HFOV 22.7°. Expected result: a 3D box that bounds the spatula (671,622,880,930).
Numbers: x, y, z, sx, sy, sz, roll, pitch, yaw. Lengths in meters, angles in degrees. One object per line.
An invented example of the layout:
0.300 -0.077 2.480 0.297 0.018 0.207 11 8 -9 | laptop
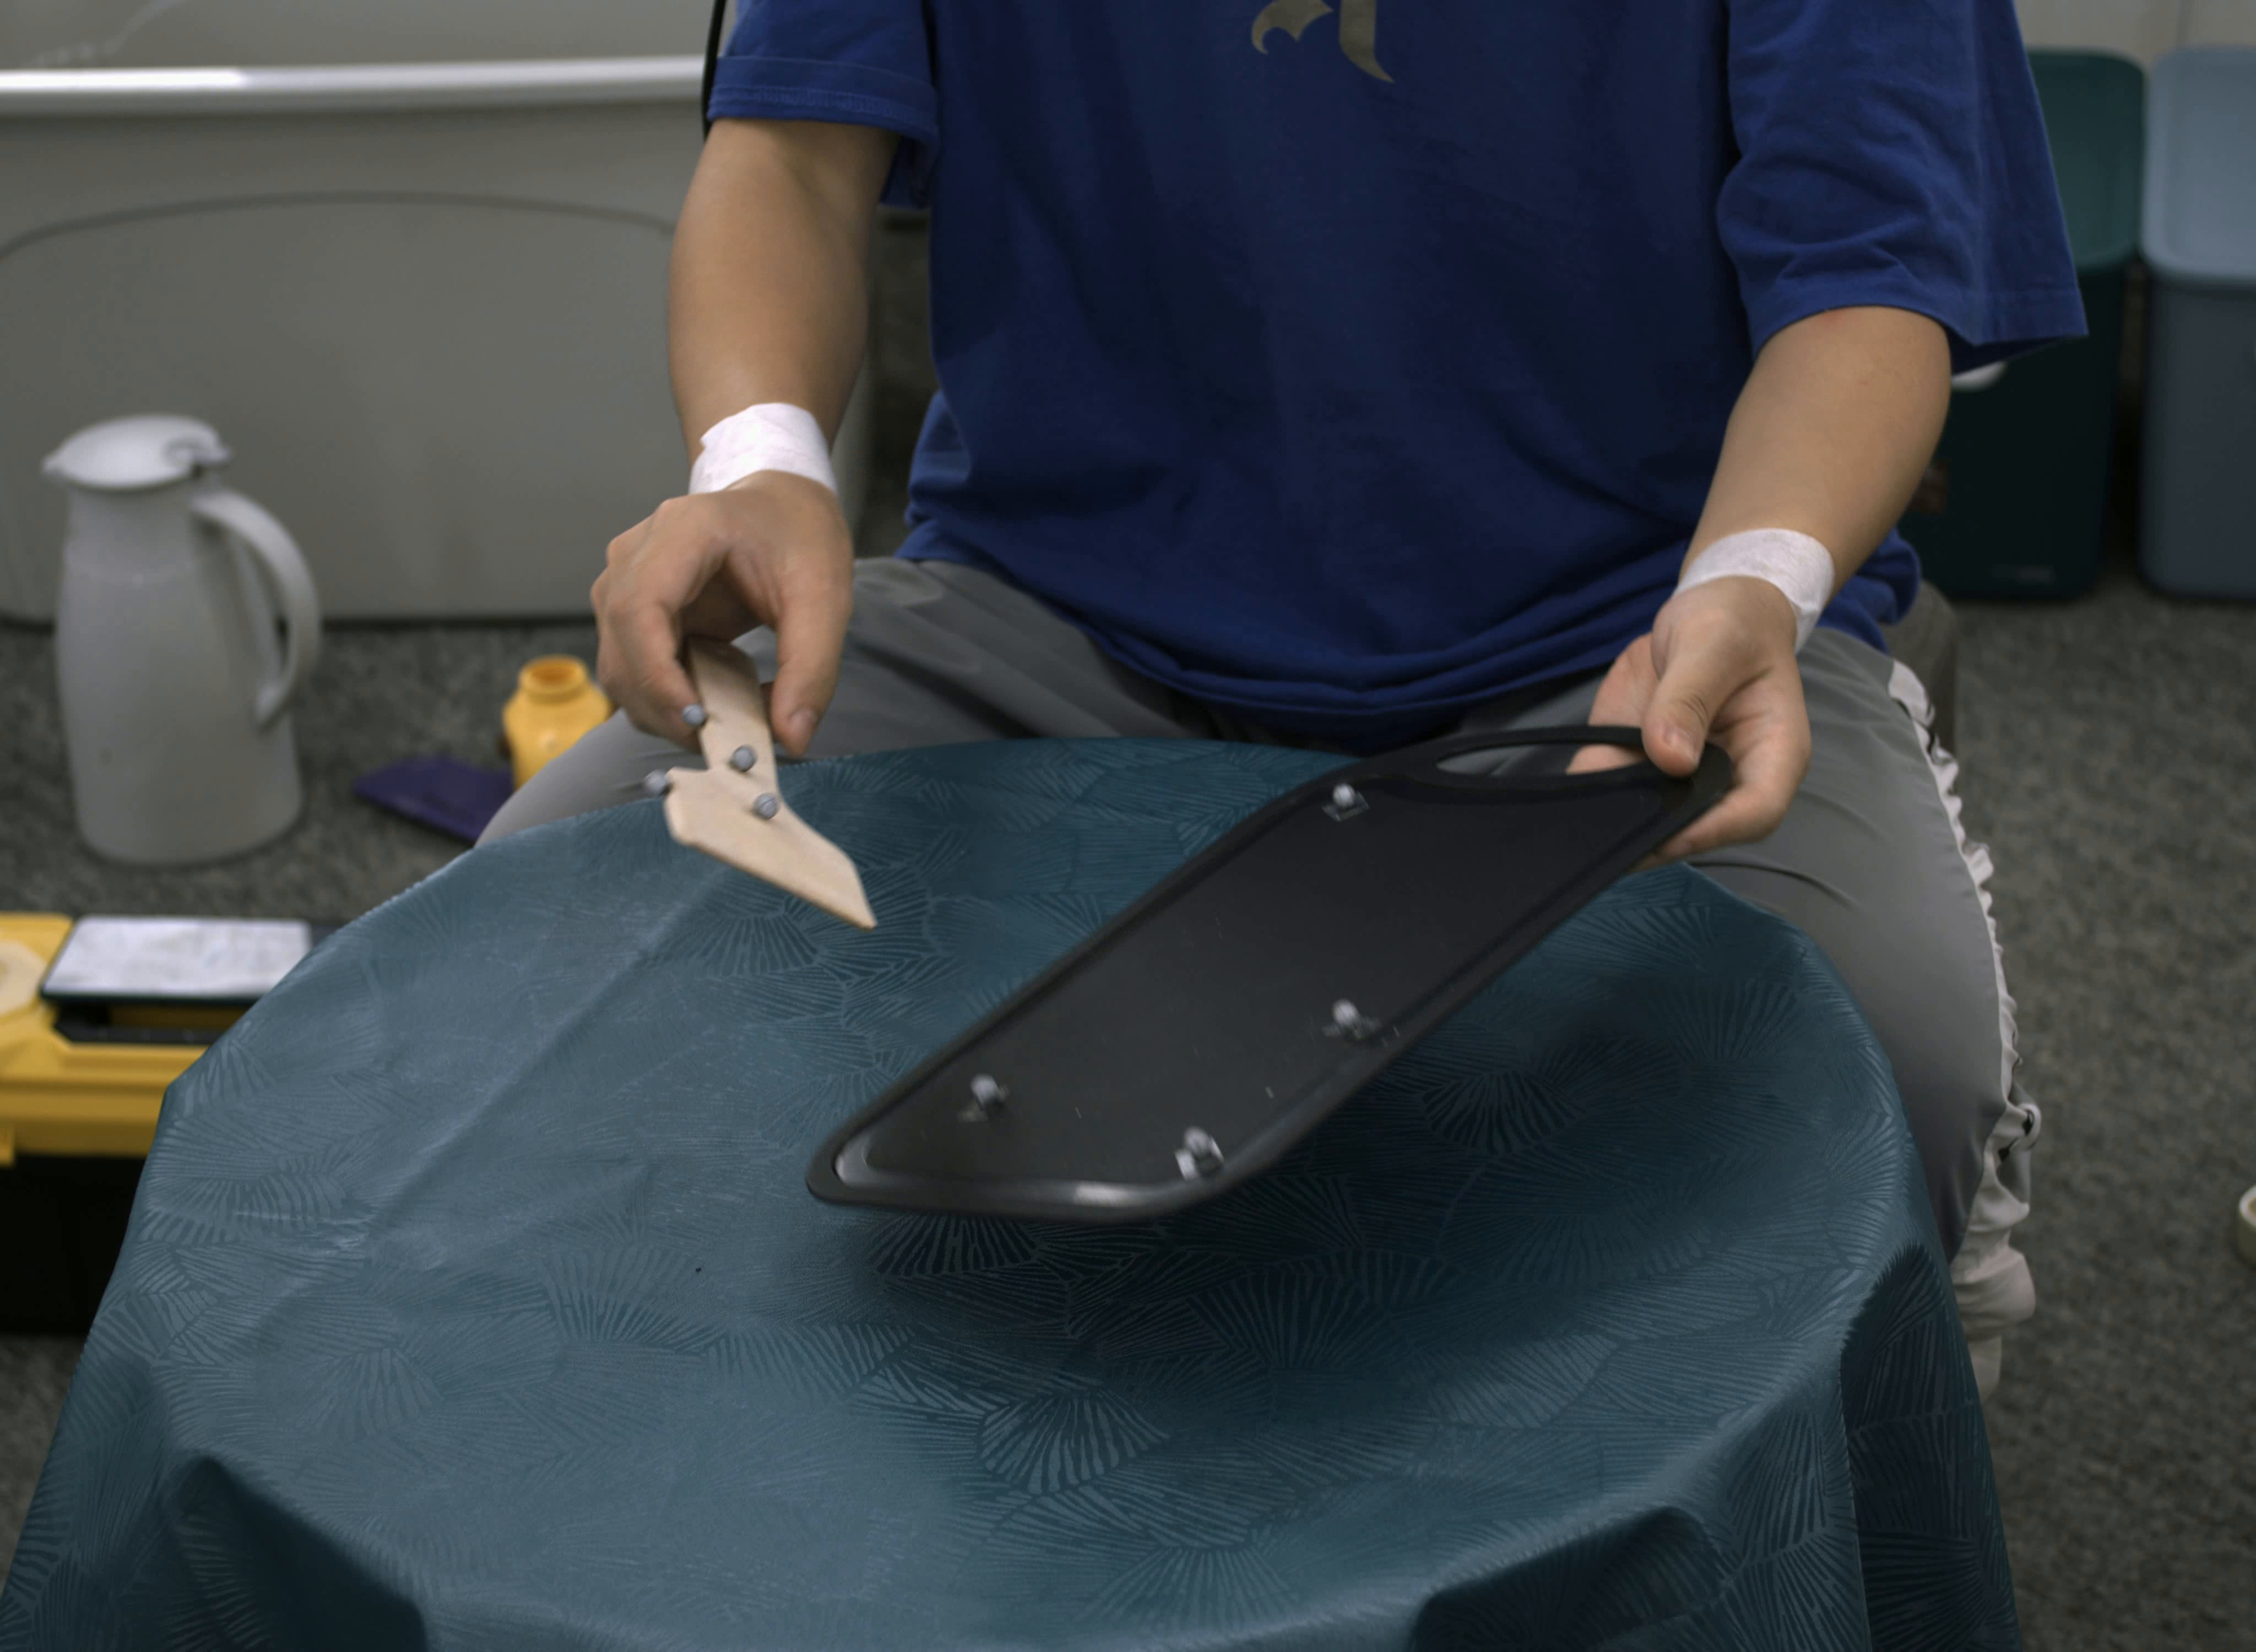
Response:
-0.130 -0.025 1.922 0.072 0.010 0.295 27 12 -15 | spatula

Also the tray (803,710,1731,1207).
0.051 0.037 1.842 0.209 0.010 0.330 -1 27 48 | tray
